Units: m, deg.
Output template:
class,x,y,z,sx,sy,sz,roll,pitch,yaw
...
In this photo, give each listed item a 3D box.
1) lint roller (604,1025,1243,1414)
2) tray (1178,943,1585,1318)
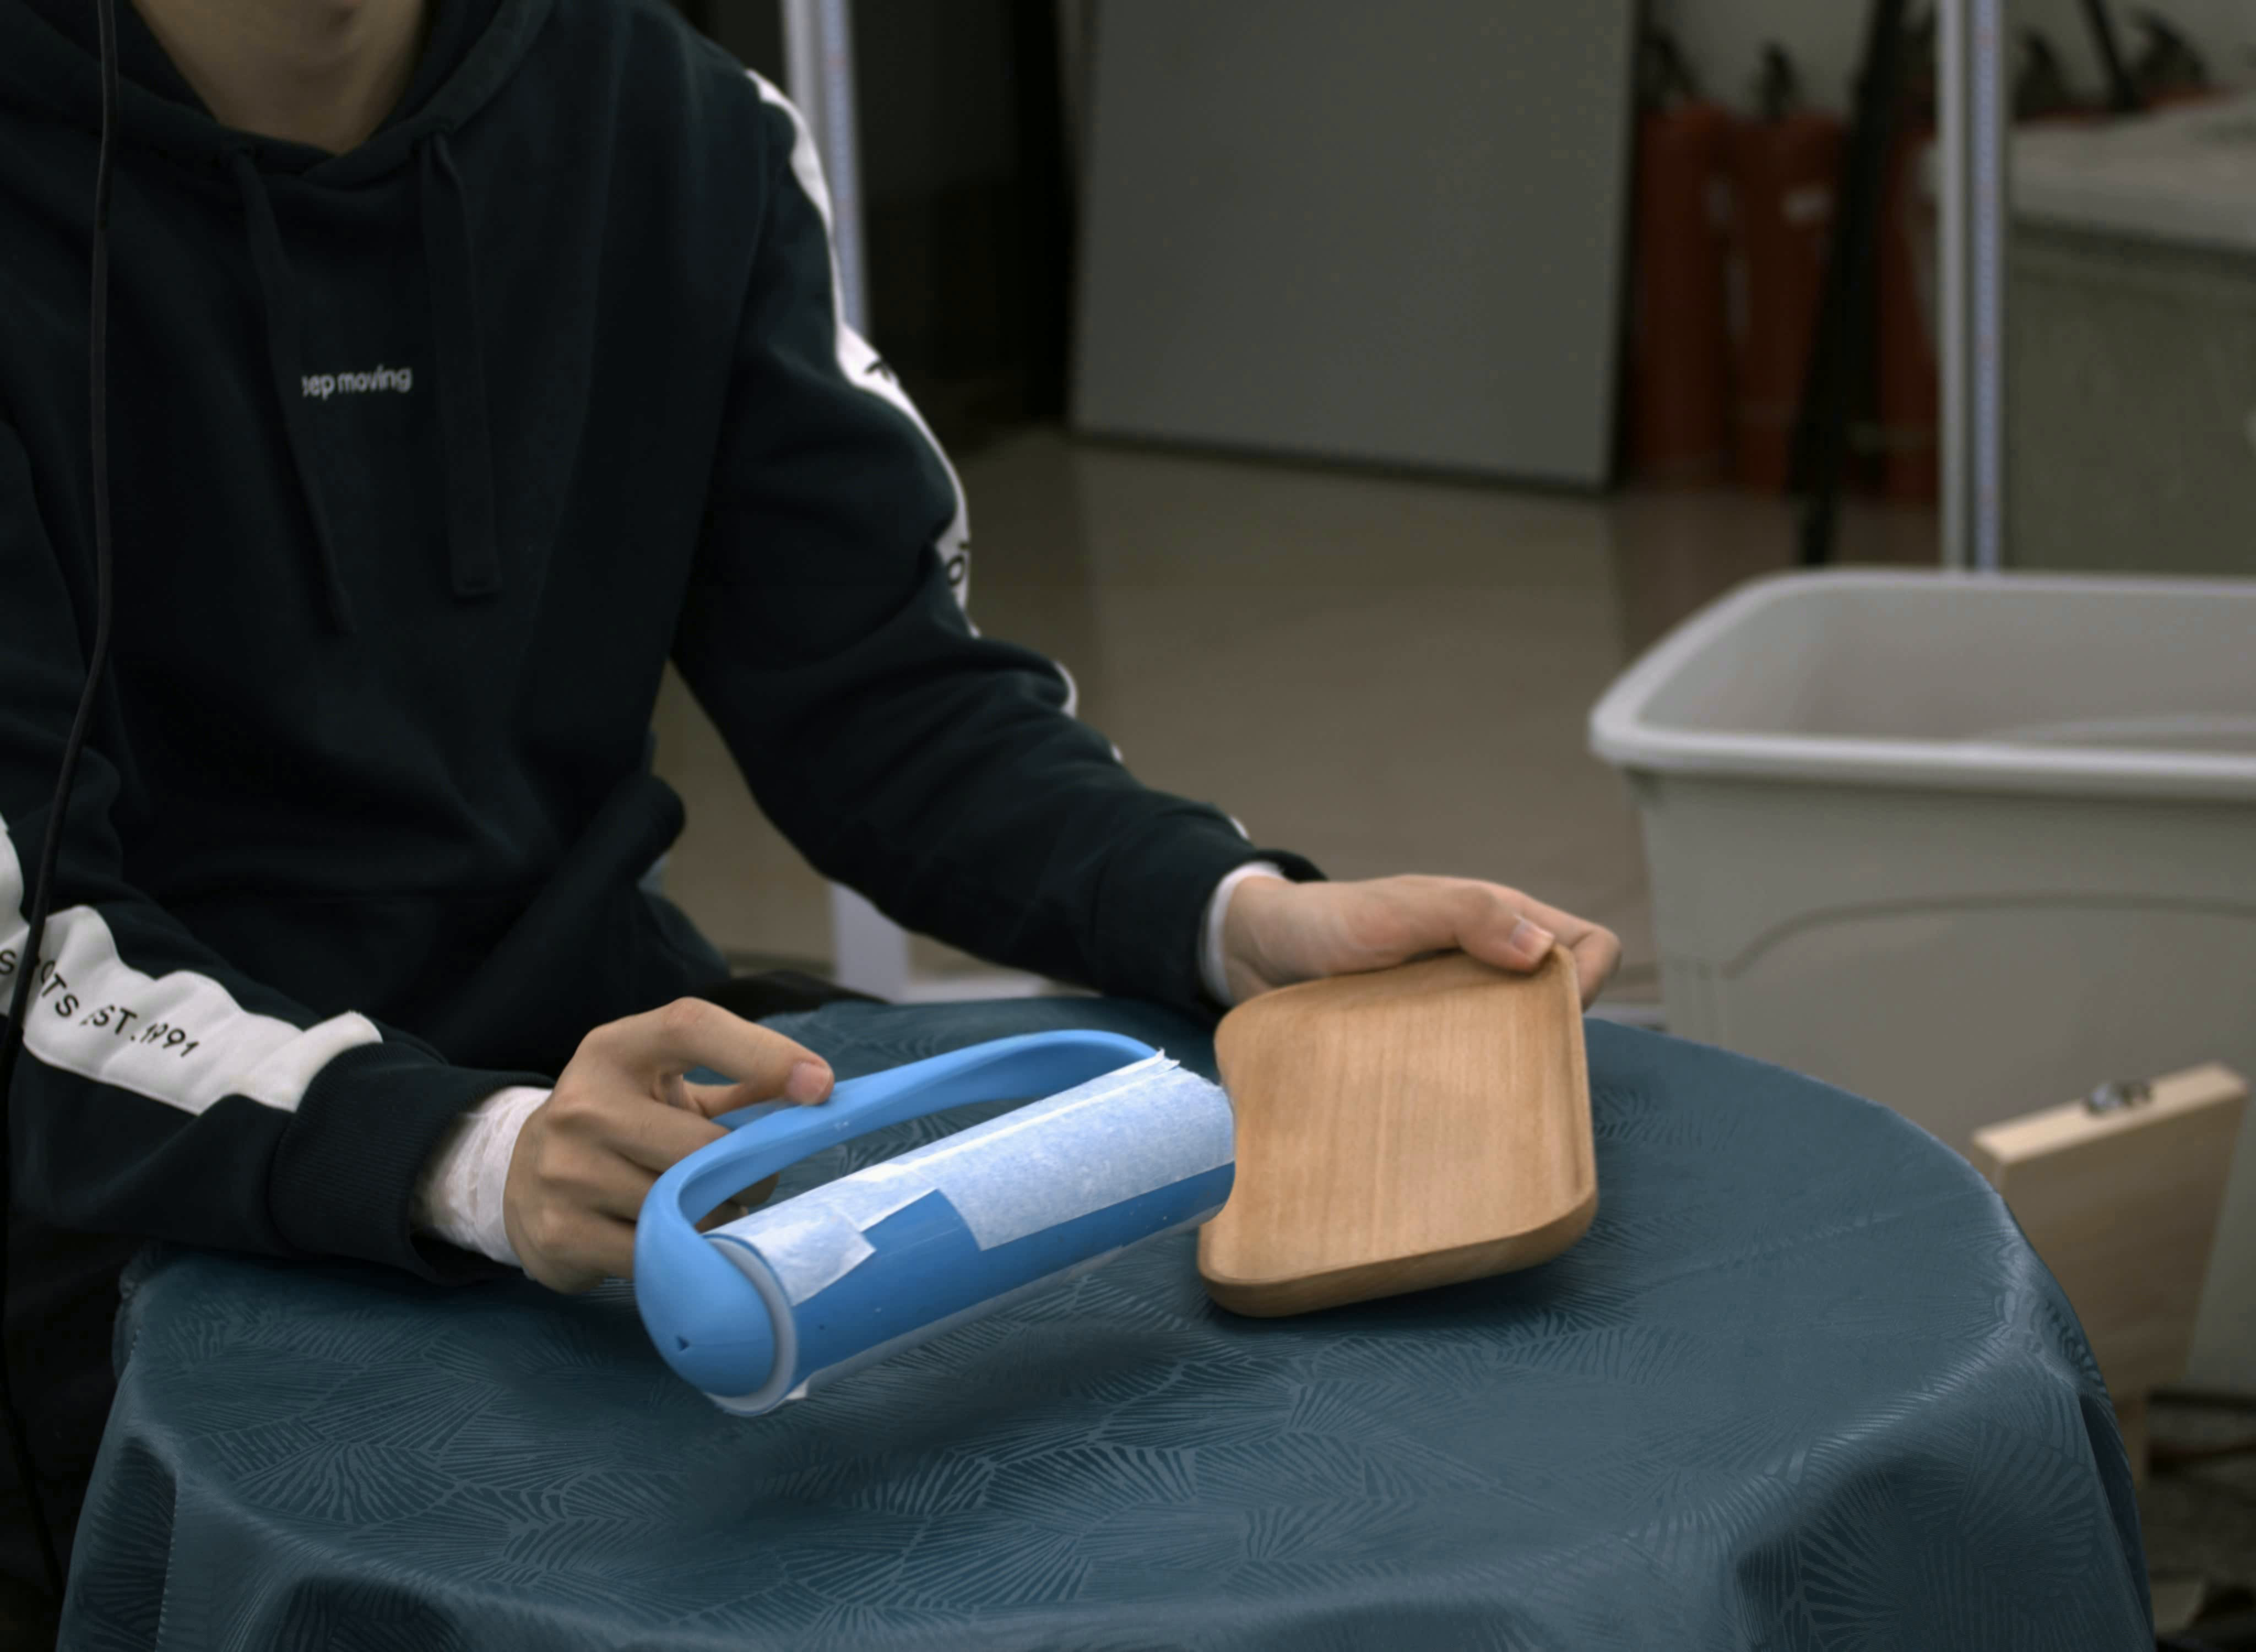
class,x,y,z,sx,sy,sz,roll,pitch,yaw
lint roller,-0.092,0.110,1.598,0.181,0.068,0.225,5,18,39
tray,0.084,0.095,1.739,0.130,0.023,0.250,-15,18,10
